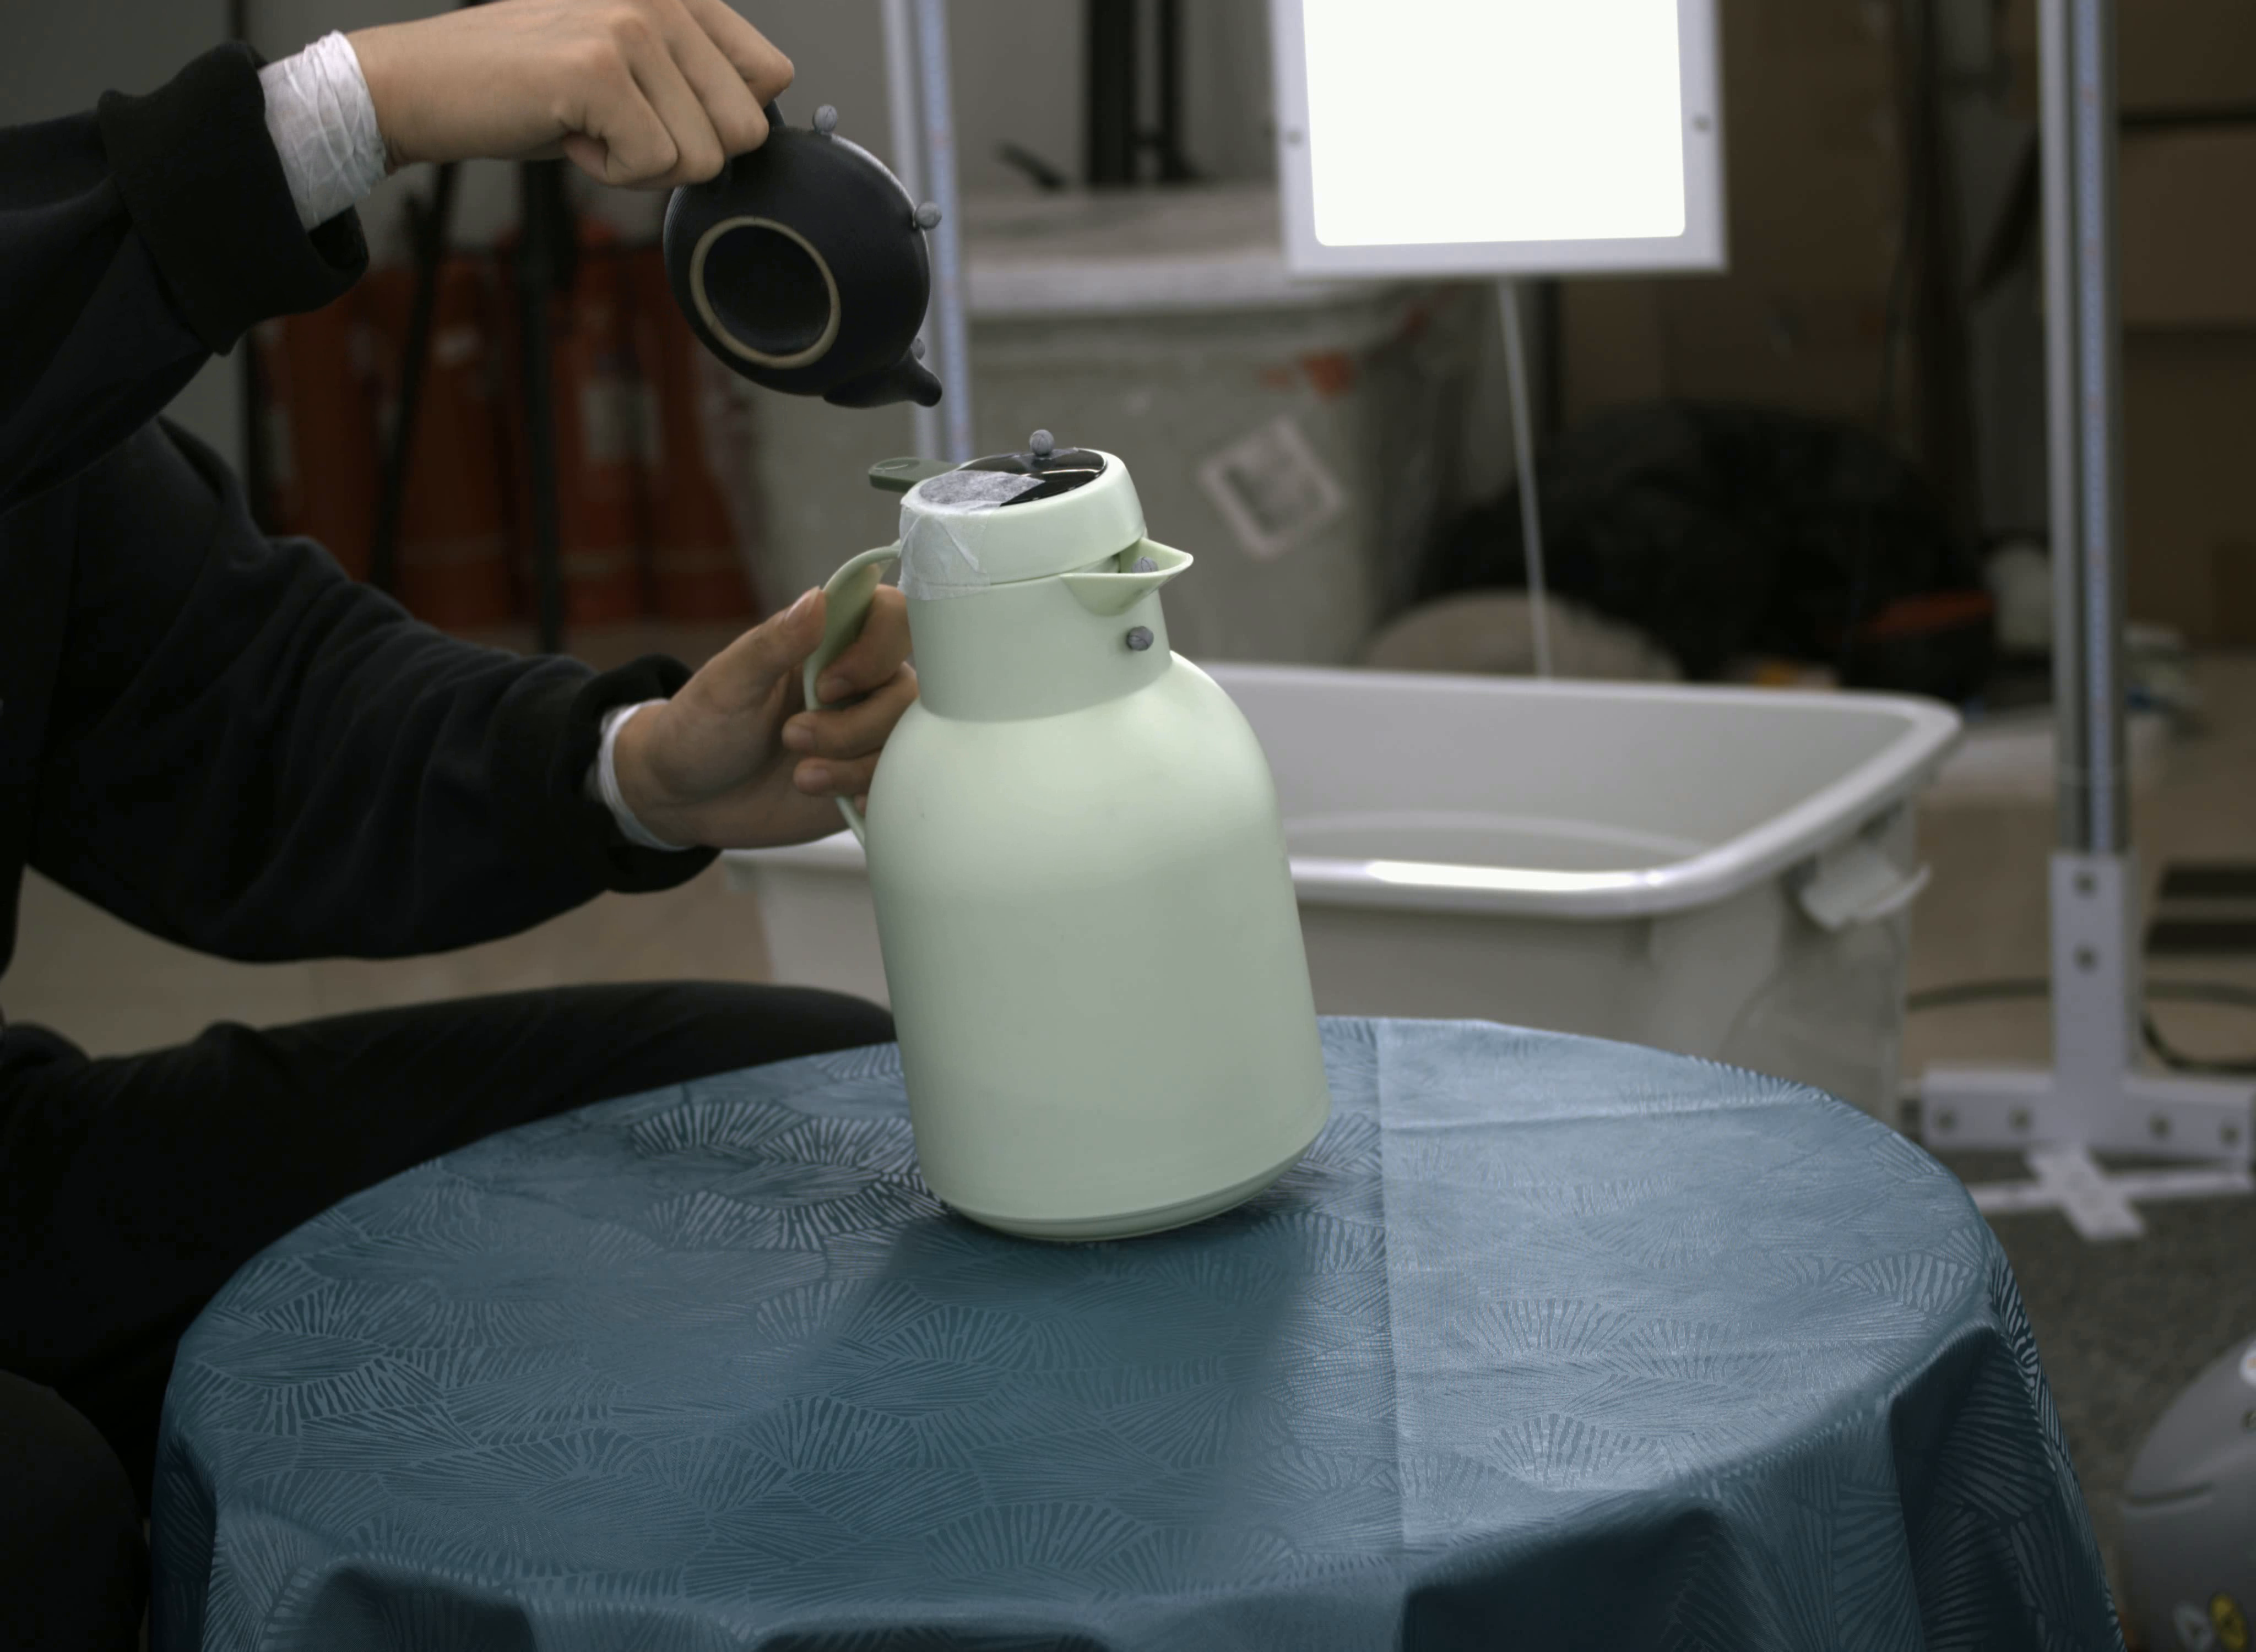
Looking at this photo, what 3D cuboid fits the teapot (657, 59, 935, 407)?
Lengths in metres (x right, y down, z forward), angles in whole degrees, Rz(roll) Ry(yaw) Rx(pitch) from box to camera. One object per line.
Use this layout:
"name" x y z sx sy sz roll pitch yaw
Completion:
"teapot" -0.107 -0.183 1.765 0.093 0.133 0.052 -20 18 35

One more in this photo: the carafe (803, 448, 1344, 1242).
"carafe" -0.028 0.001 1.872 0.191 0.257 0.141 5 25 46
